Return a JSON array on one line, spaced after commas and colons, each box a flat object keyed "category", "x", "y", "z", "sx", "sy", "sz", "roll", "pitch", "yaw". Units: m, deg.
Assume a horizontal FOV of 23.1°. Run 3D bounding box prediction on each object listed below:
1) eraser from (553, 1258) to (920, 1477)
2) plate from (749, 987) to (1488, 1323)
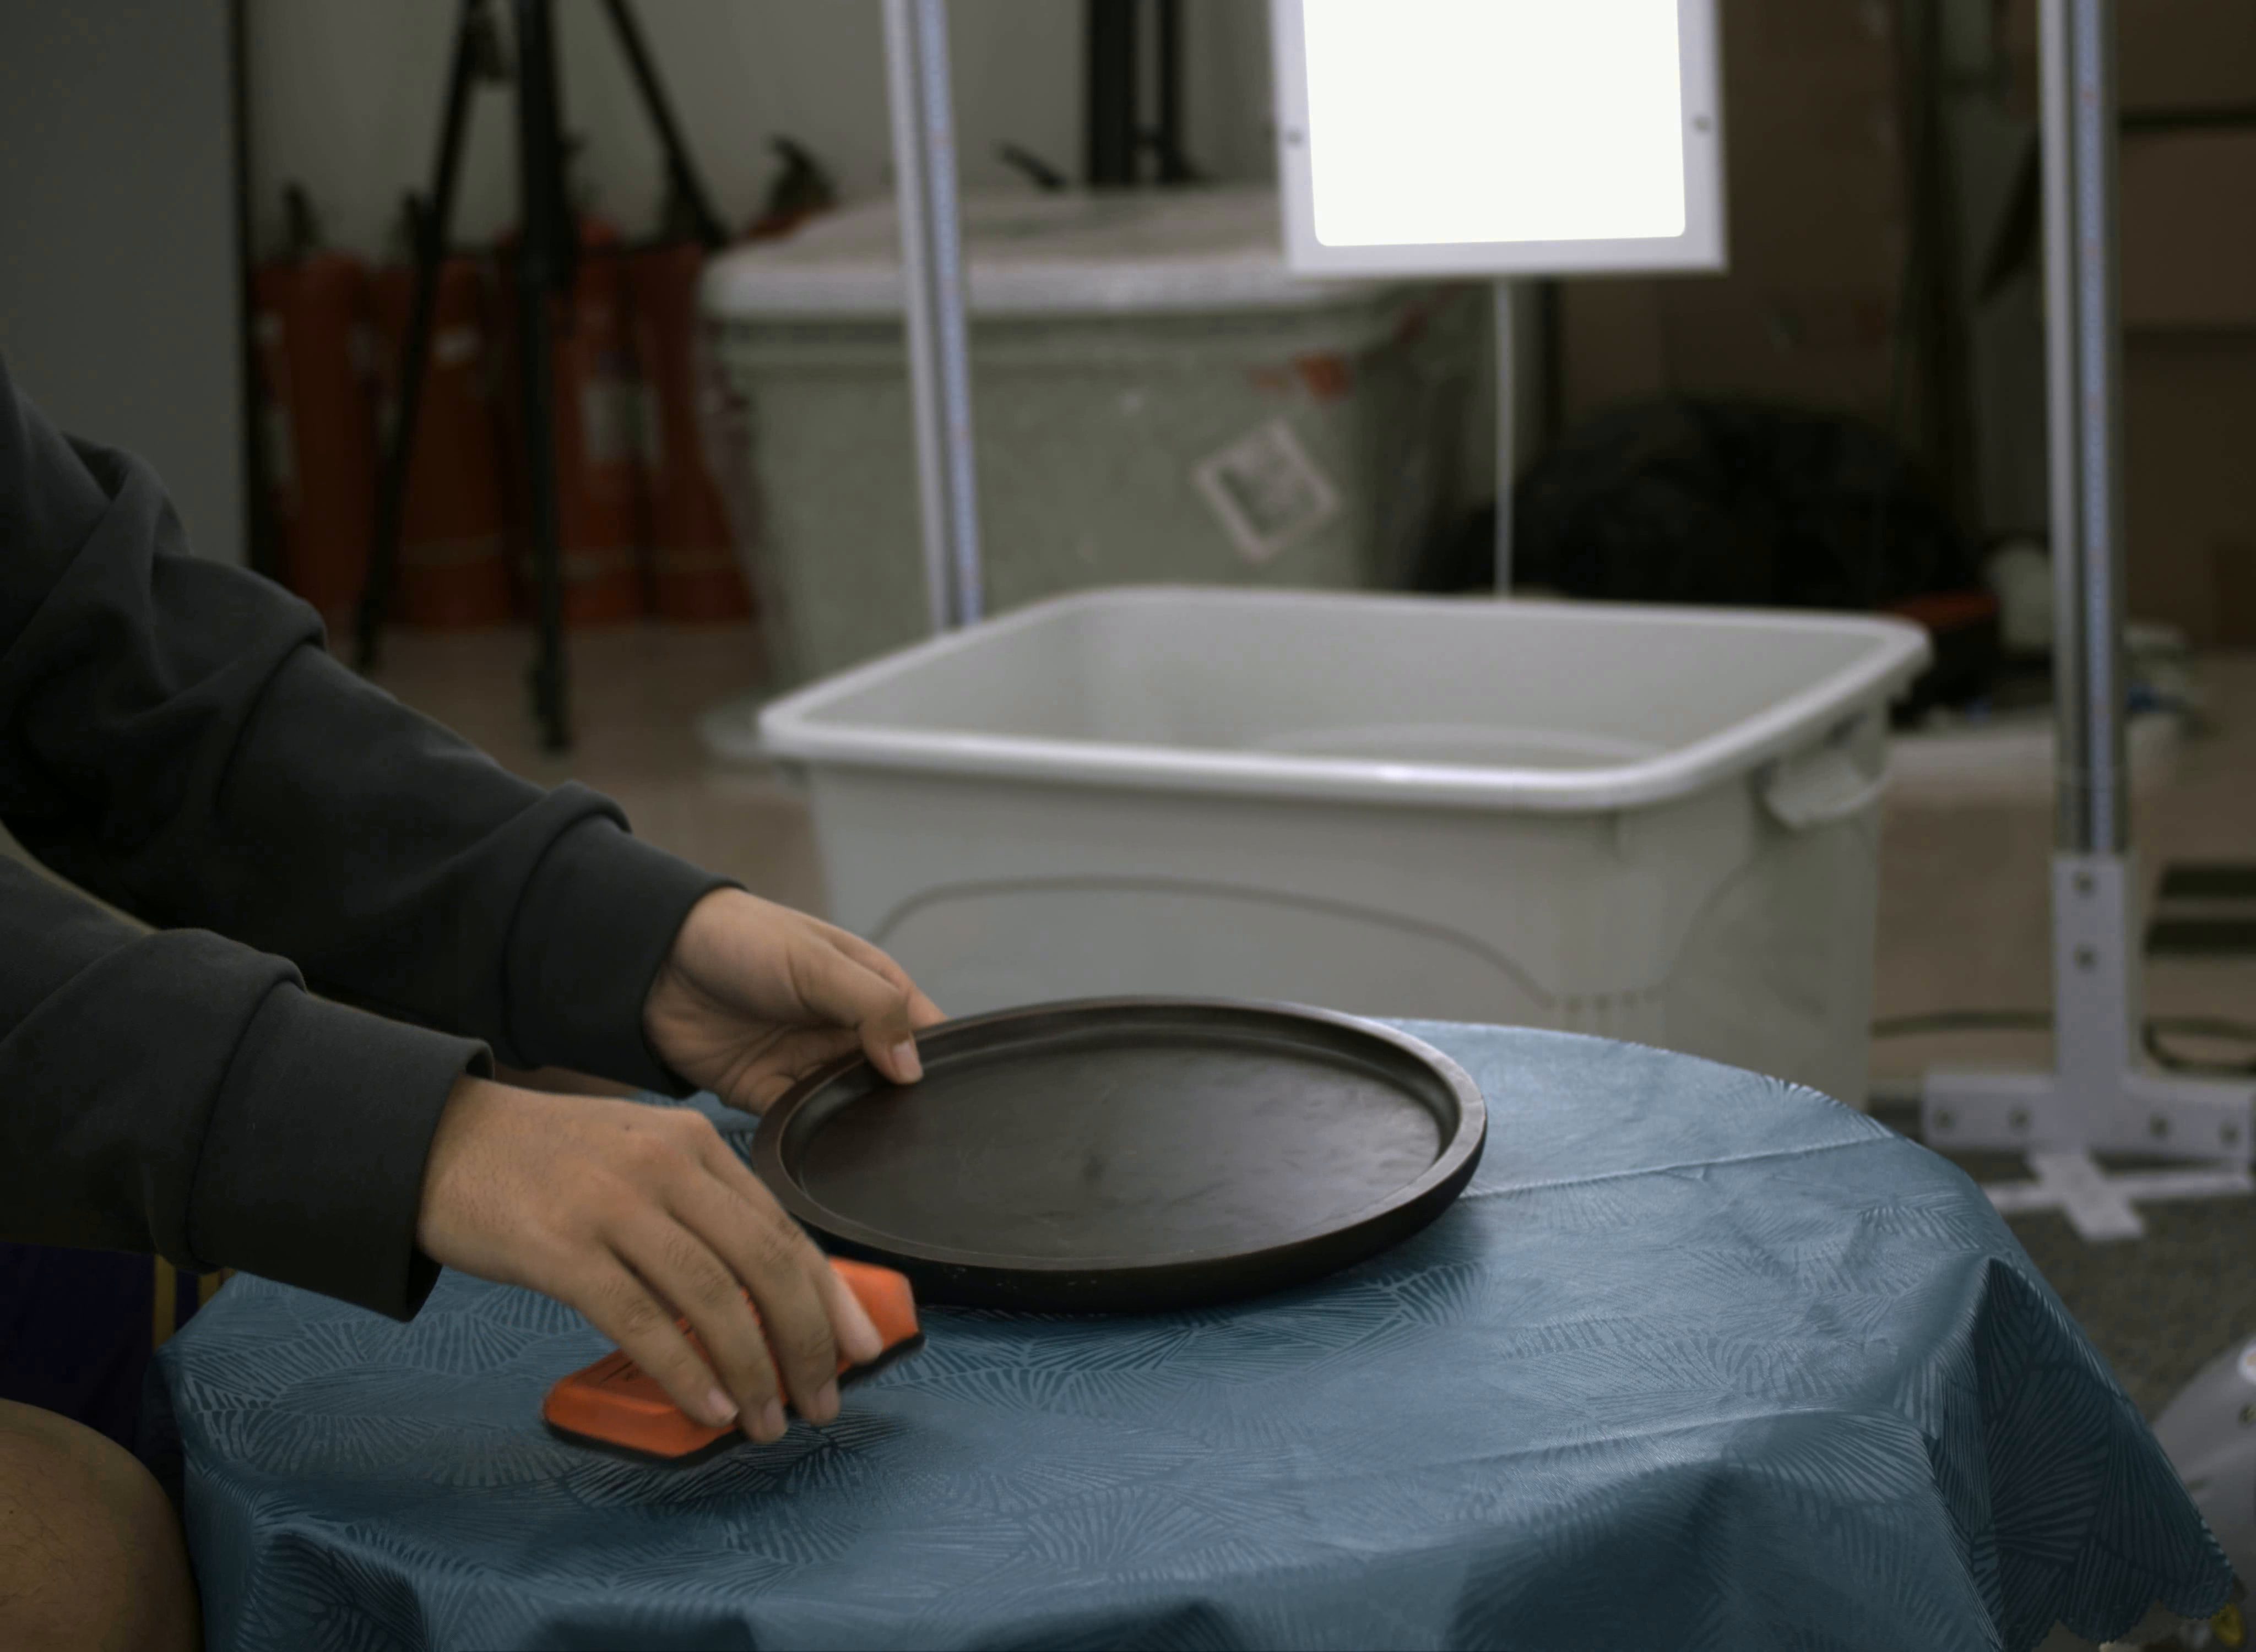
[{"category": "eraser", "x": -0.118, "y": 0.163, "z": 1.667, "sx": 0.105, "sy": 0.023, "sz": 0.060, "roll": -26, "pitch": 21, "yaw": -39}, {"category": "plate", "x": -0.003, "y": 0.112, "z": 1.876, "sx": 0.254, "sy": 0.029, "sz": 0.254, "roll": -5, "pitch": 20, "yaw": 0}]
